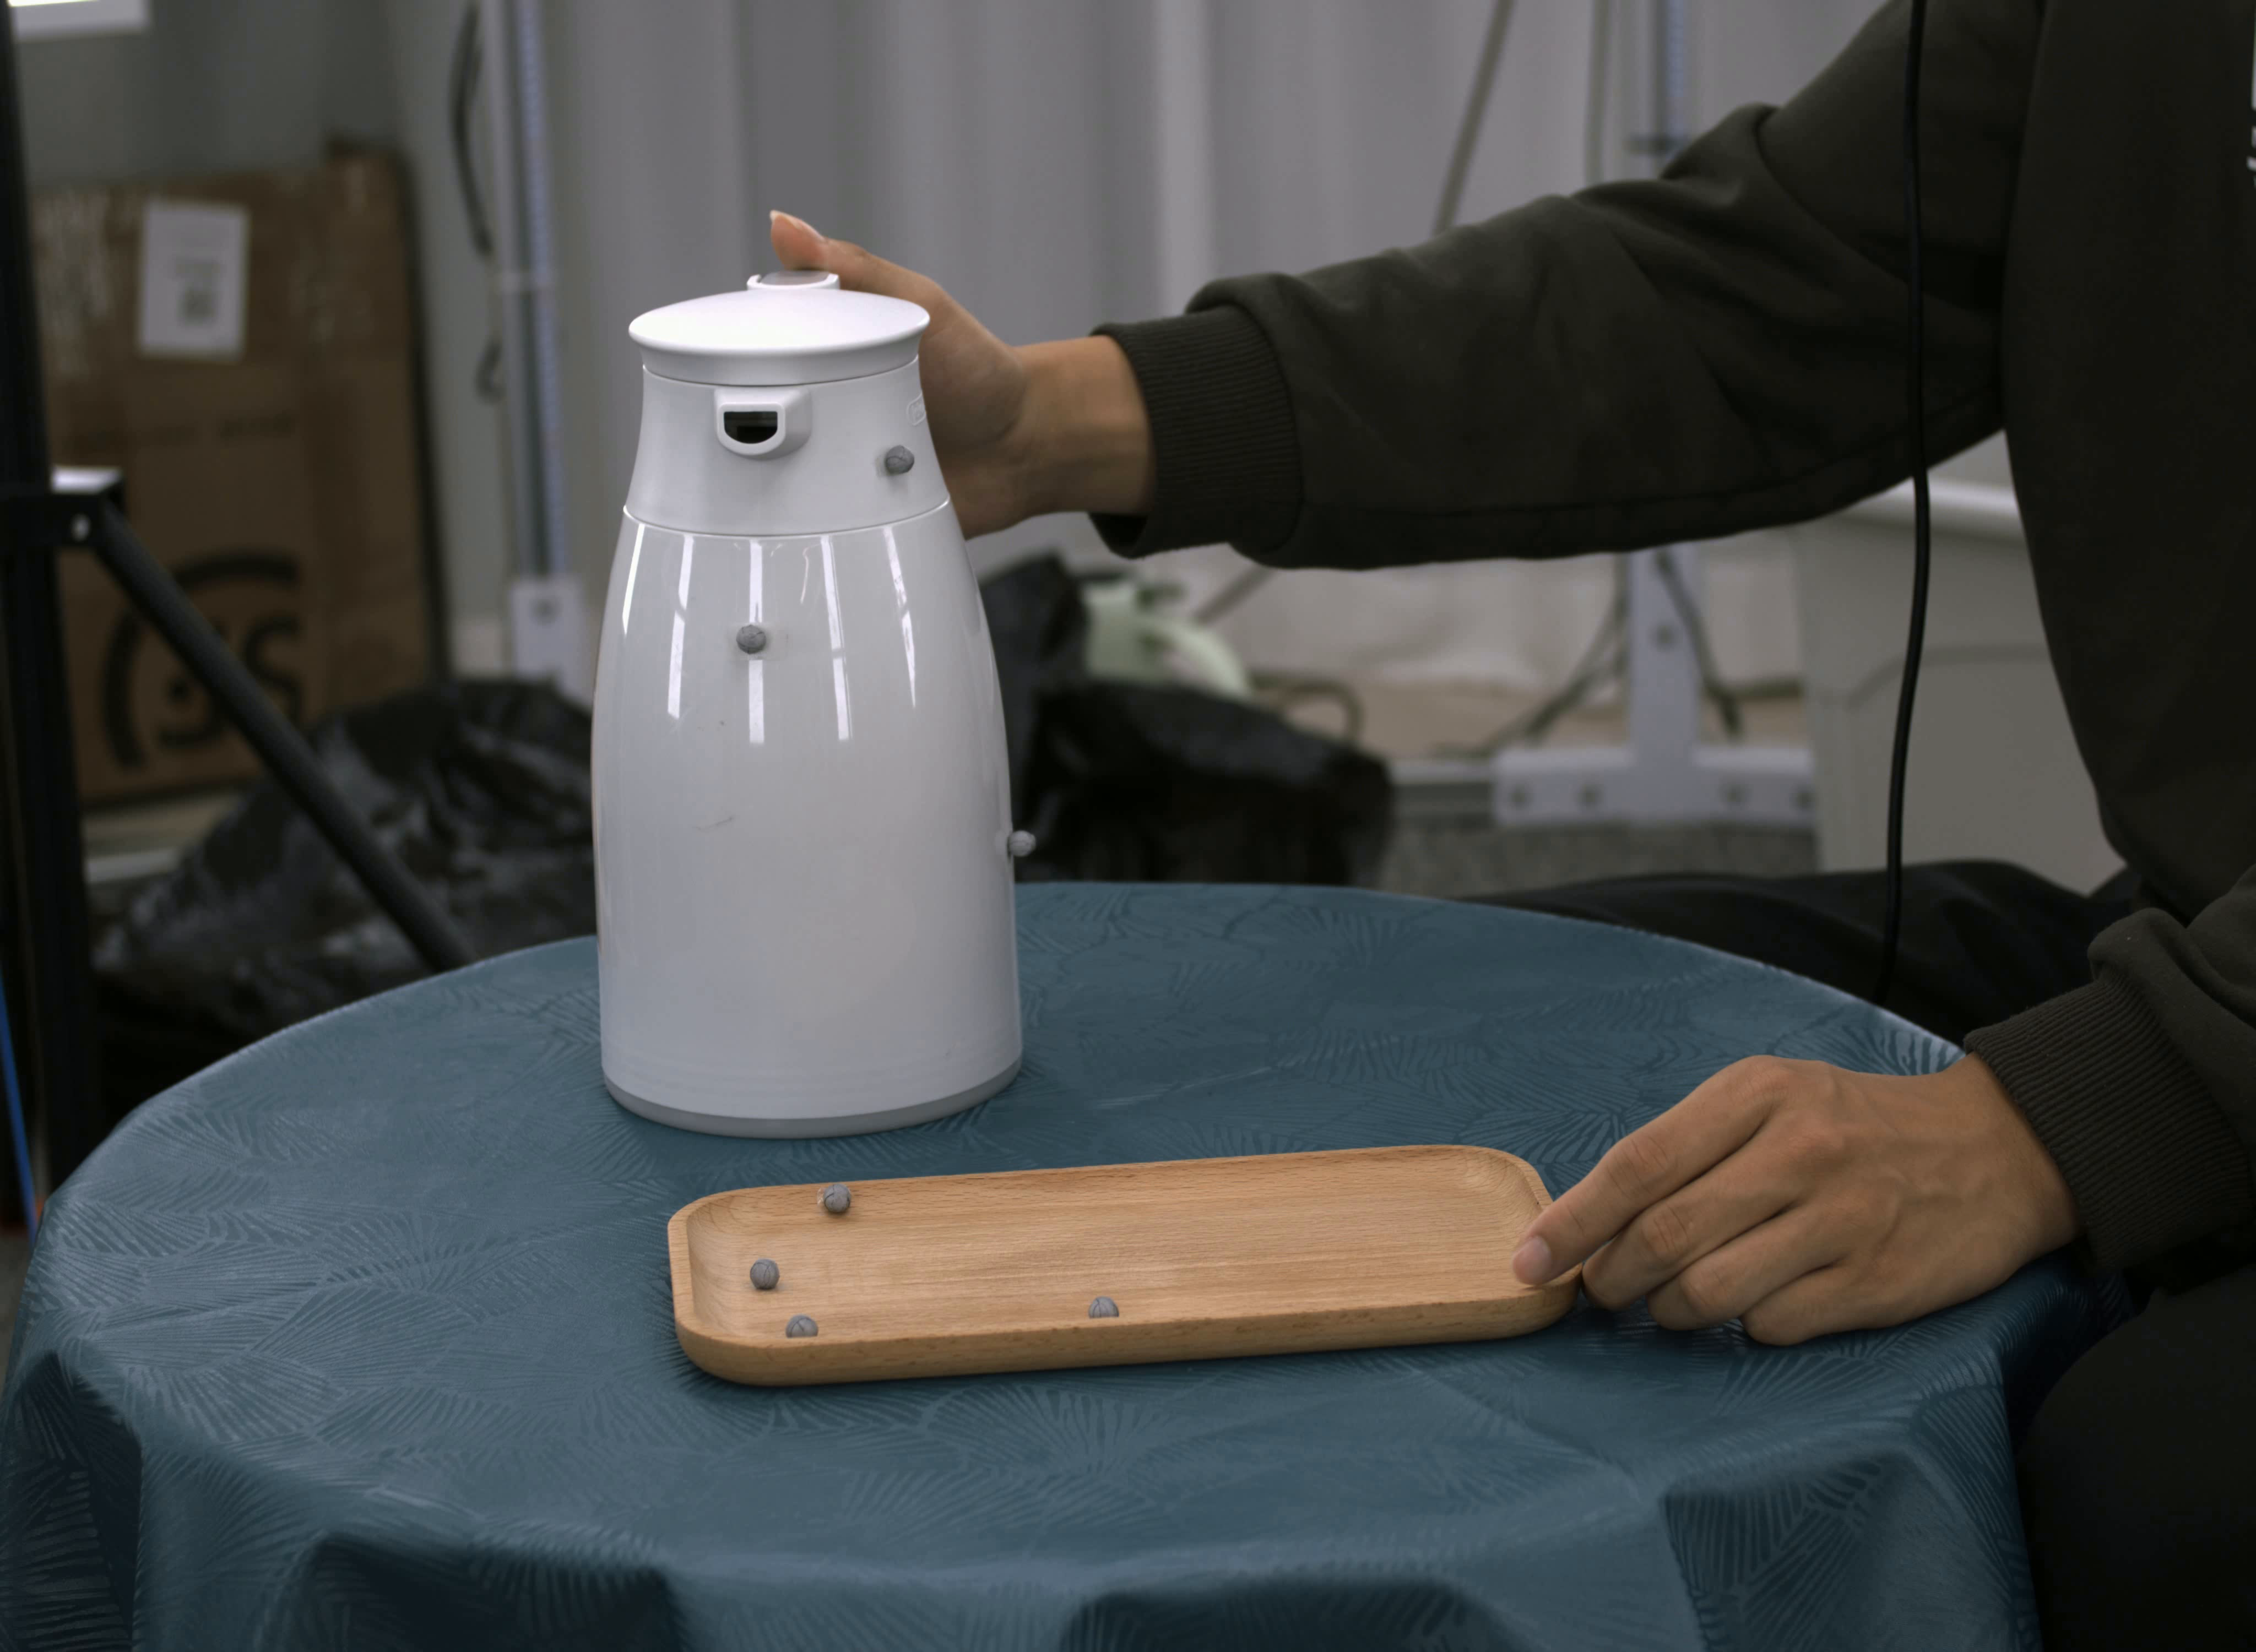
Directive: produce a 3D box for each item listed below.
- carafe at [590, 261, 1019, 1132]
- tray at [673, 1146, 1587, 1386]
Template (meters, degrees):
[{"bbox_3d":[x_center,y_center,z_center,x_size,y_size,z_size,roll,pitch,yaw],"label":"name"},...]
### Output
[{"bbox_3d":[-0.103,-0.048,1.669,0.132,0.248,0.168,-1,15,5],"label":"carafe"},{"bbox_3d":[-0.001,0.122,1.481,0.249,0.023,0.131,-2,18,-3],"label":"tray"}]
